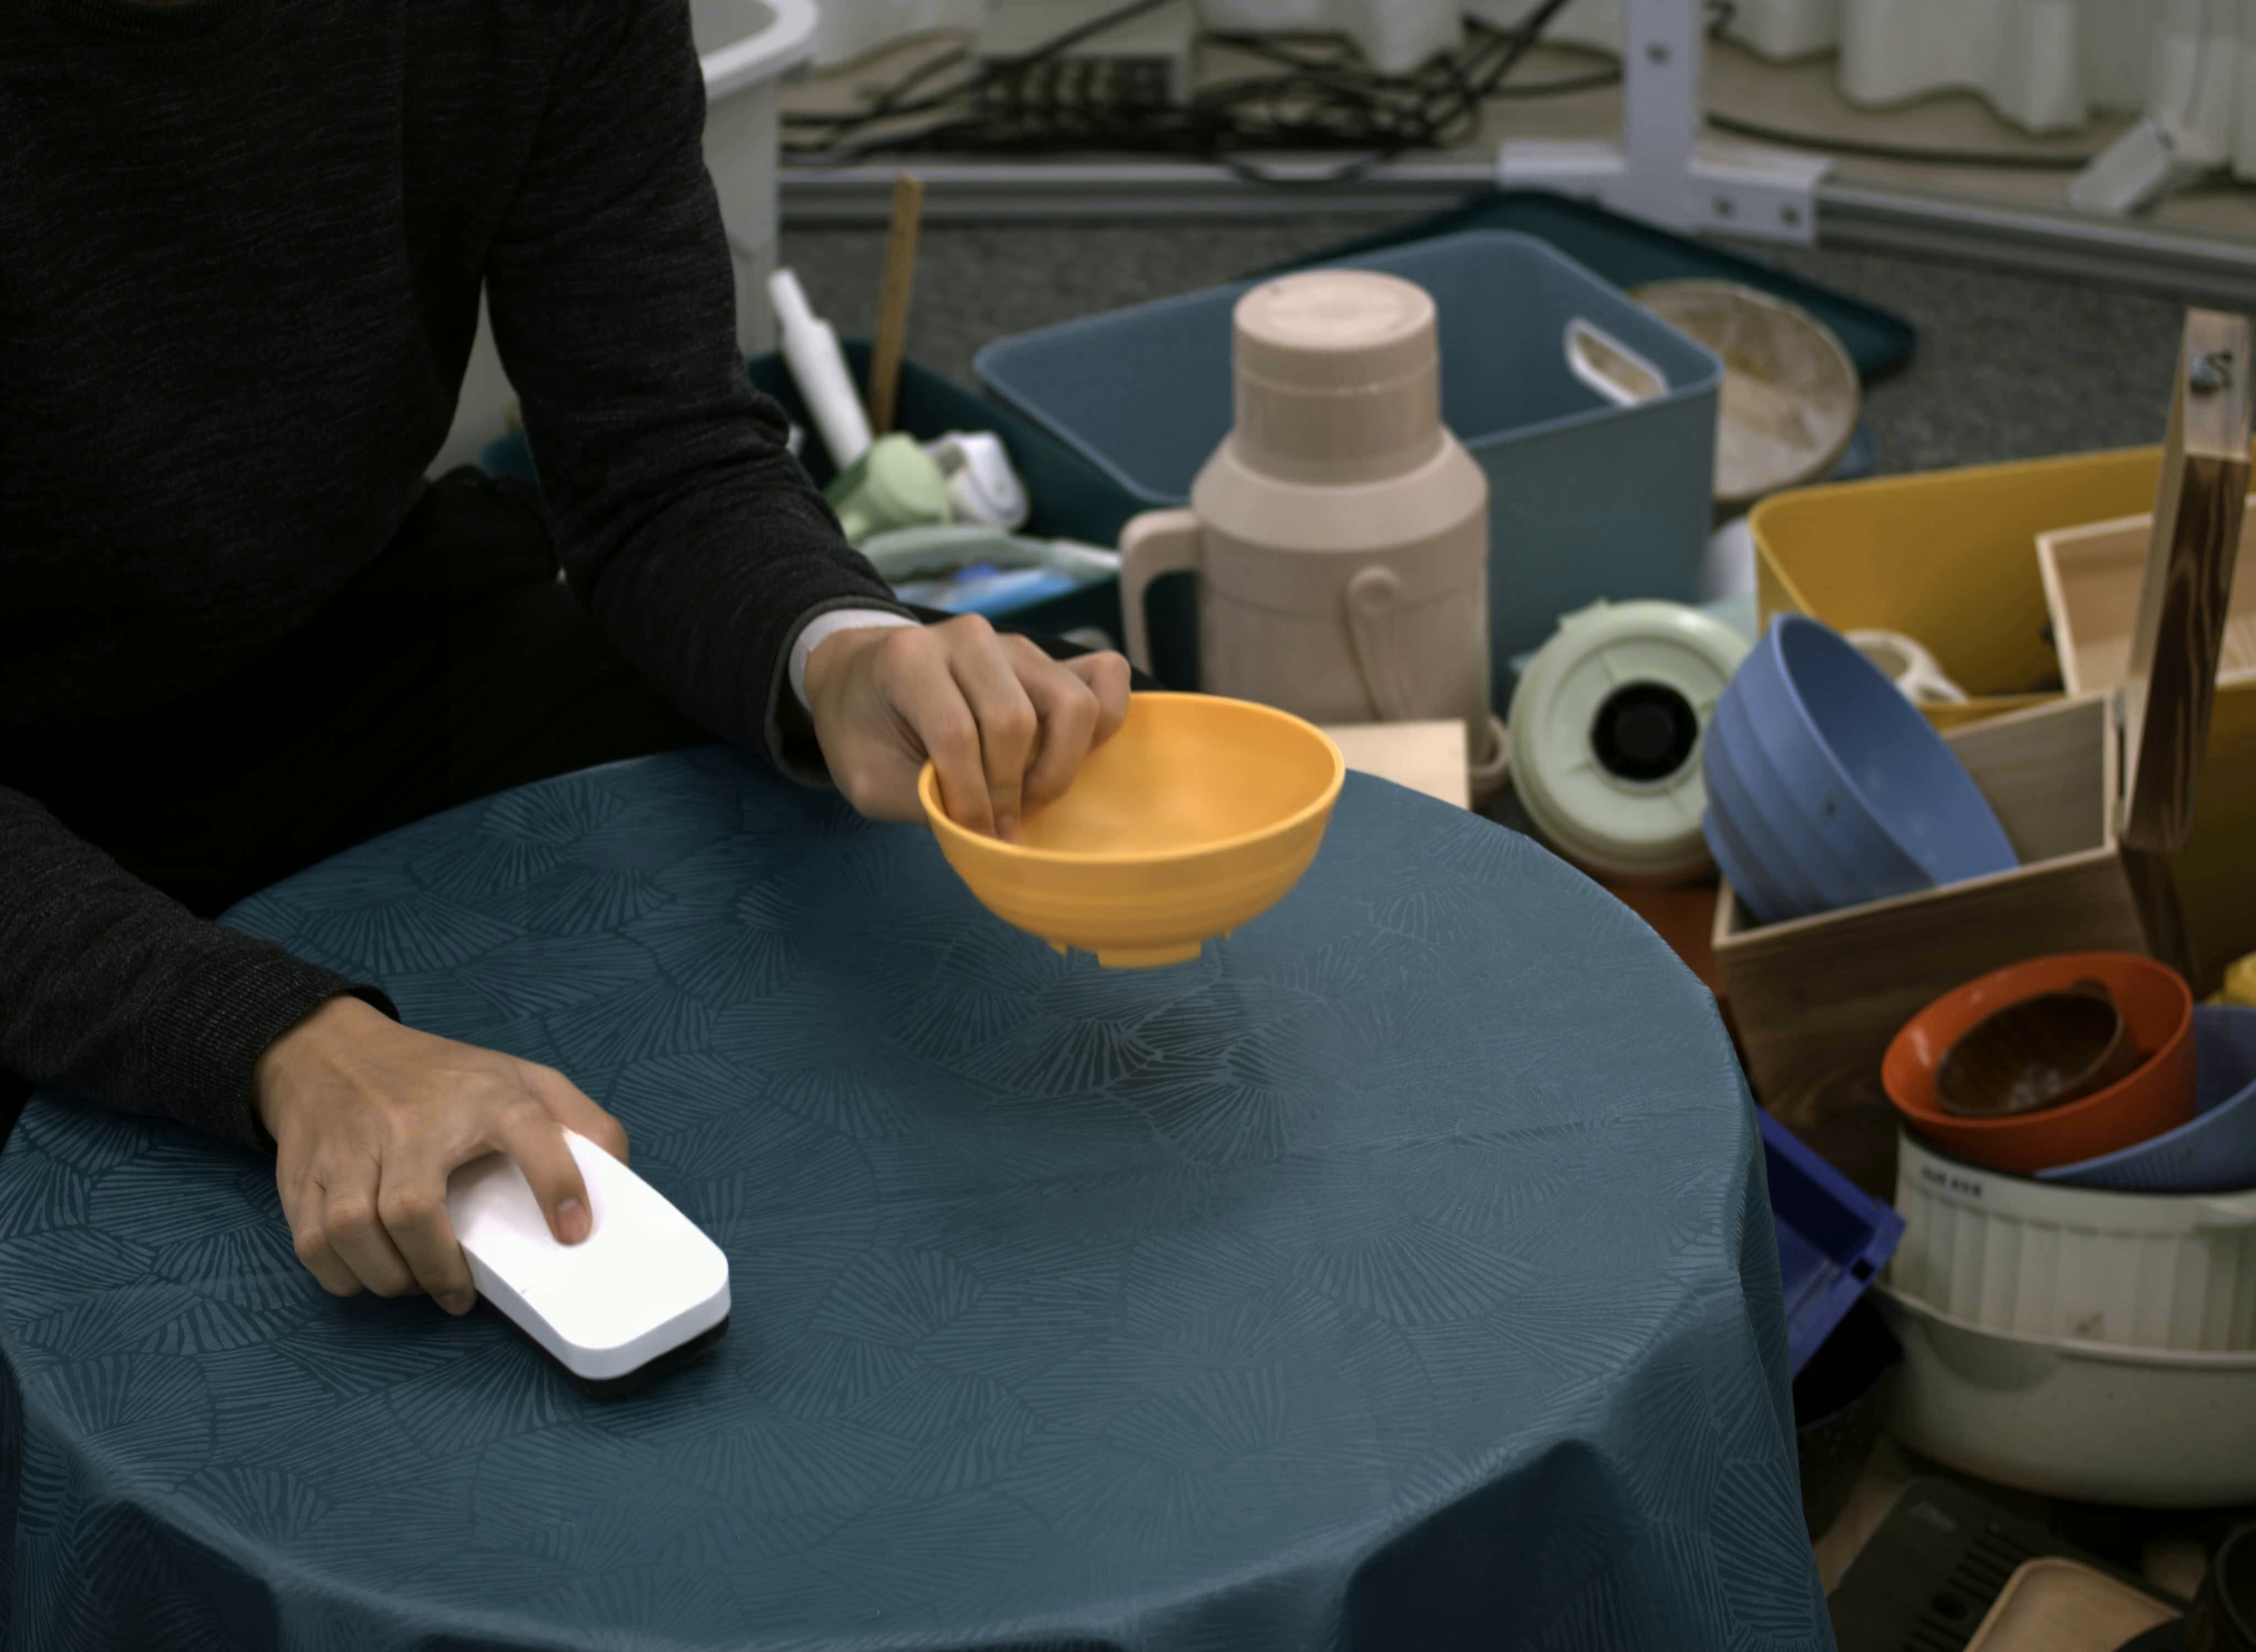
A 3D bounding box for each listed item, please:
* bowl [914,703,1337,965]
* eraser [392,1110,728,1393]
[{"bbox_3d":[0.000,0.008,1.908,0.144,0.059,0.147,-2,20,1],"label":"bowl"},{"bbox_3d":[-0.182,0.133,1.805,0.064,0.034,0.131,-25,37,-27],"label":"eraser"}]
